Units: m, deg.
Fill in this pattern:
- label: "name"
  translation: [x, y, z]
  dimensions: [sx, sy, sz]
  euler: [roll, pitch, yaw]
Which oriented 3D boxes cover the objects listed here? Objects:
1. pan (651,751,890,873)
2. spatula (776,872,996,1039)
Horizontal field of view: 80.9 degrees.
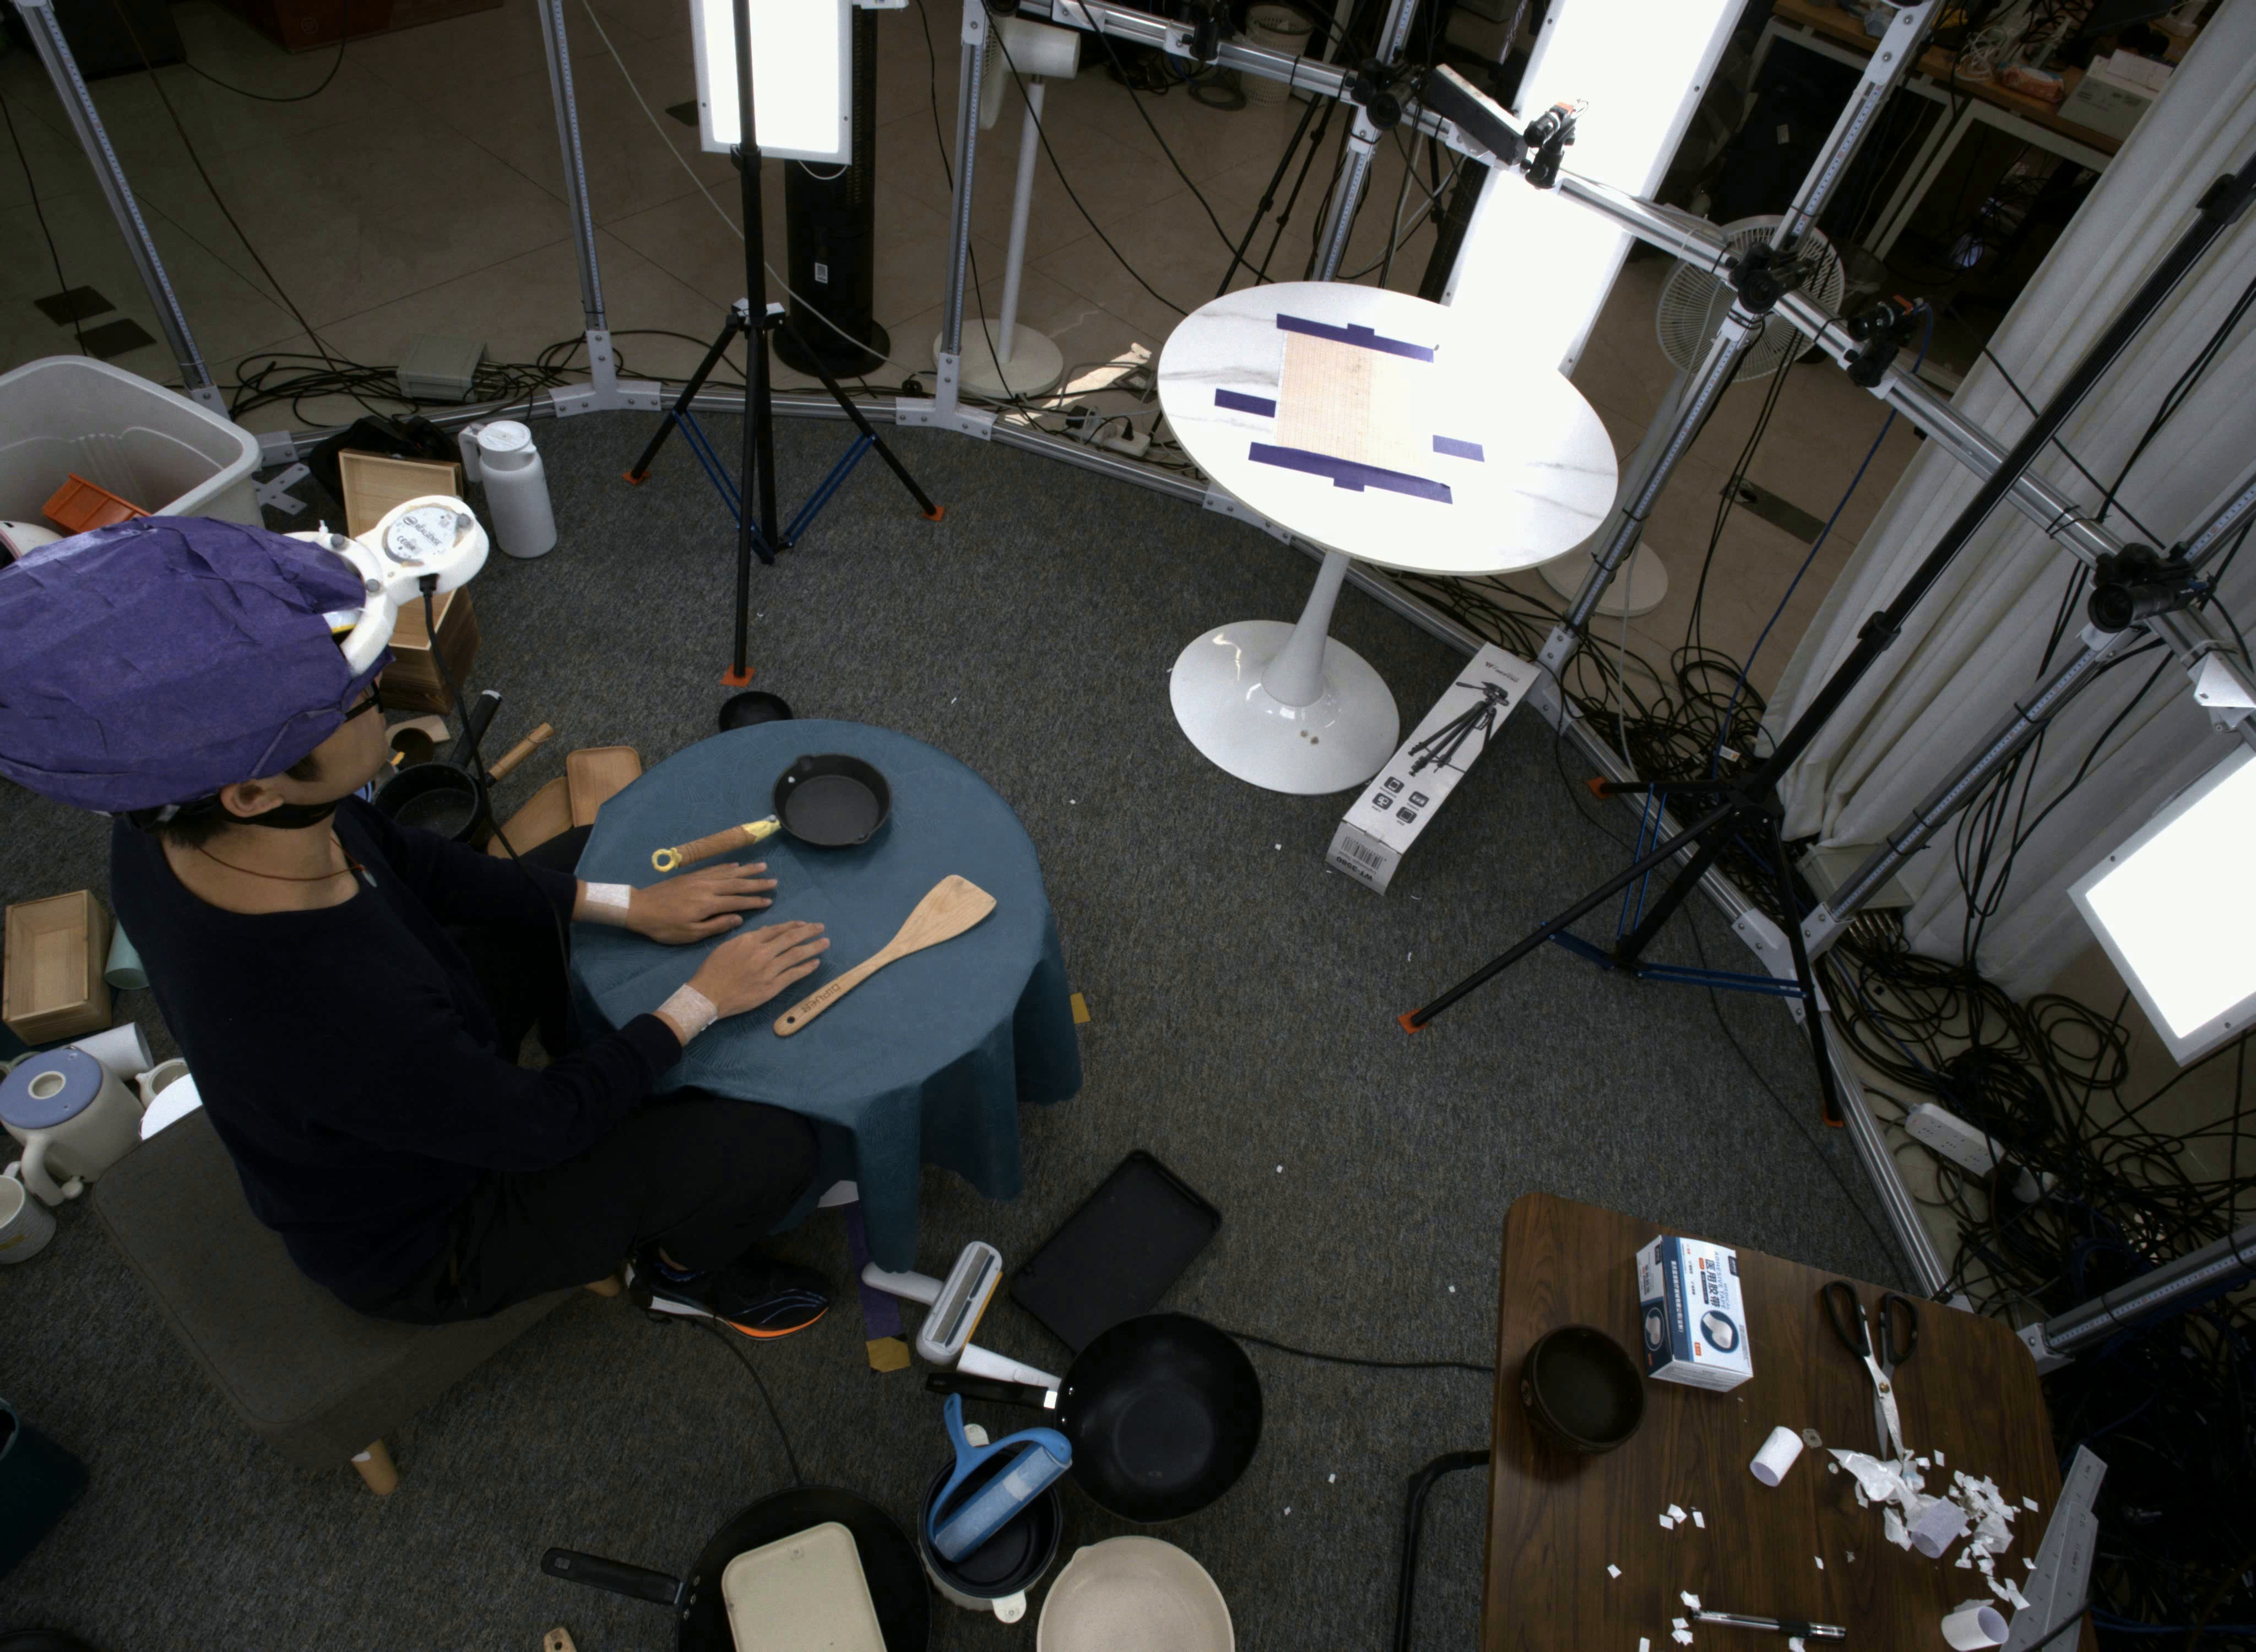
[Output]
- label: "pan"
  translation: [-0.462, -0.004, 1.674]
  dimensions: [0.326, 0.050, 0.165]
  euler: [-23, 63, -30]
- label: "spatula"
  translation: [-0.305, 0.159, 1.616]
  dimensions: [0.078, 0.017, 0.328]
  euler: [41, 54, 17]
